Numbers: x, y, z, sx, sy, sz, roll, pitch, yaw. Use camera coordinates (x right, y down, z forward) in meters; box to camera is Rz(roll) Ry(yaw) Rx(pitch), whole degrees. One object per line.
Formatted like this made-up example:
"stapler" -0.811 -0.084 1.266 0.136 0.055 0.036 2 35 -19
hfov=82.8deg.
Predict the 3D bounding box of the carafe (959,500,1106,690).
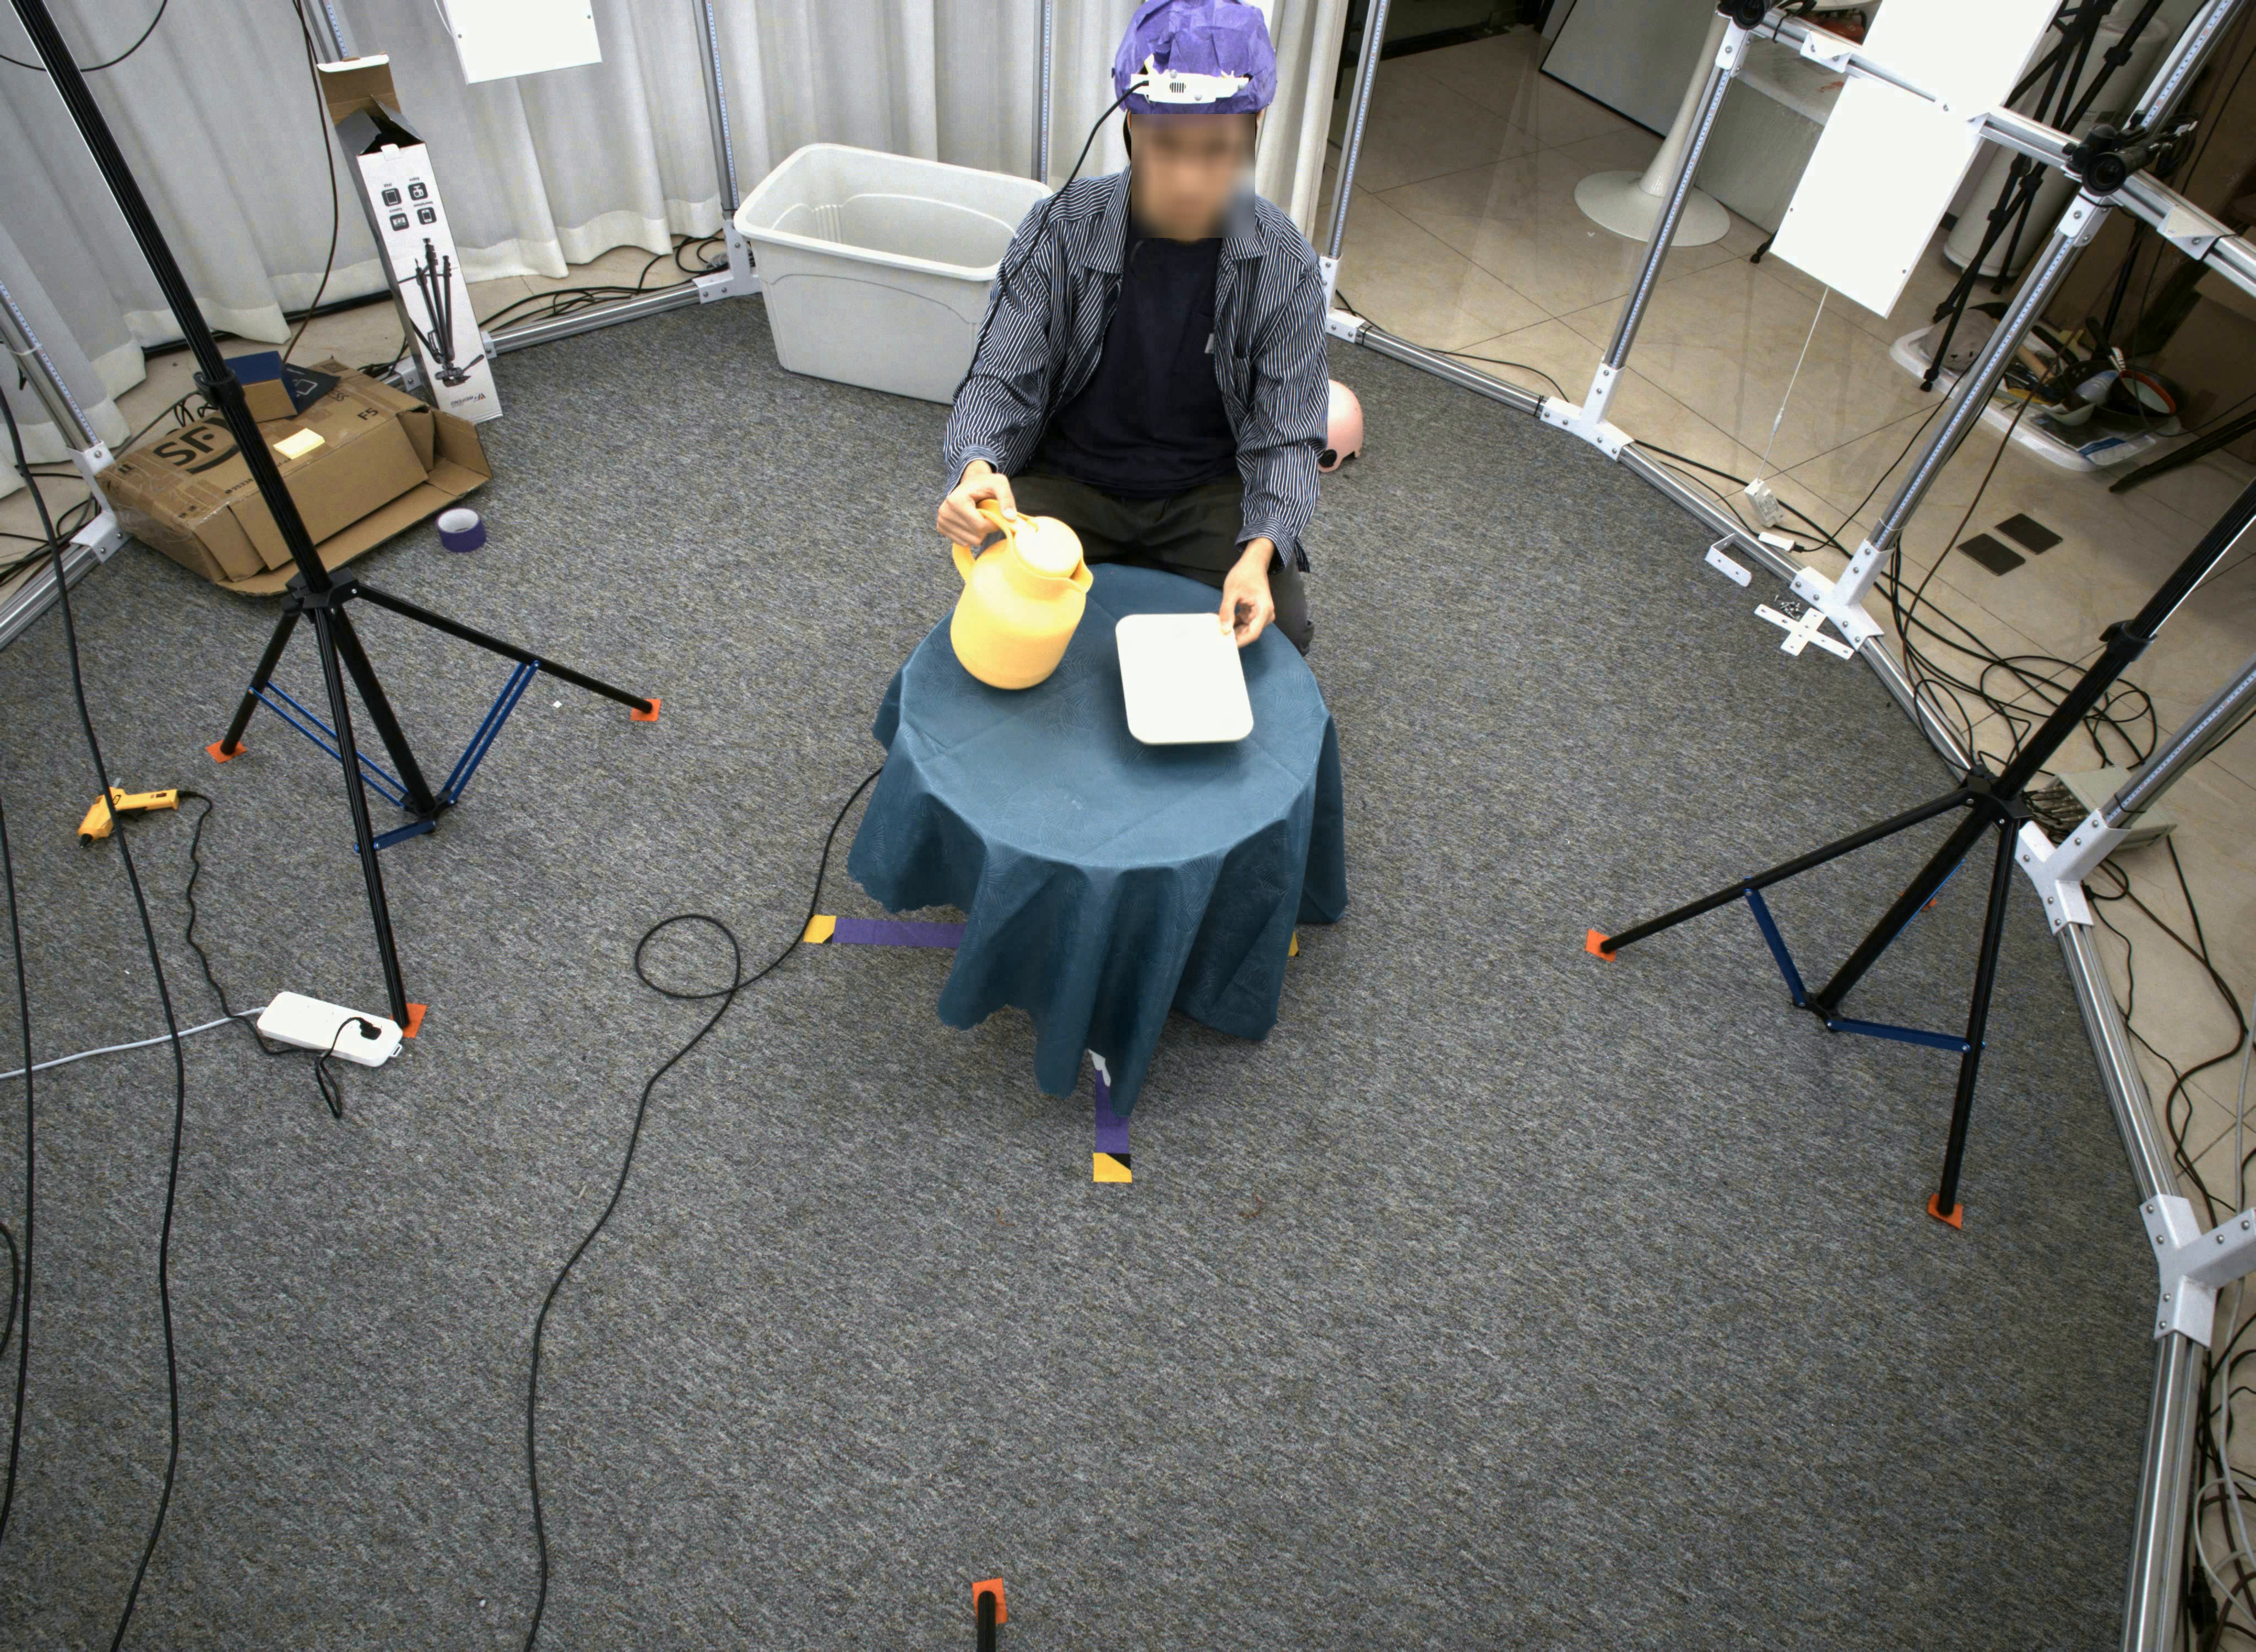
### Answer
"carafe" -0.140 -0.320 1.741 0.202 0.256 0.166 38 56 1

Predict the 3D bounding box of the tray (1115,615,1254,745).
"tray" 0.075 -0.203 1.776 0.171 0.017 0.246 -2 51 -8
